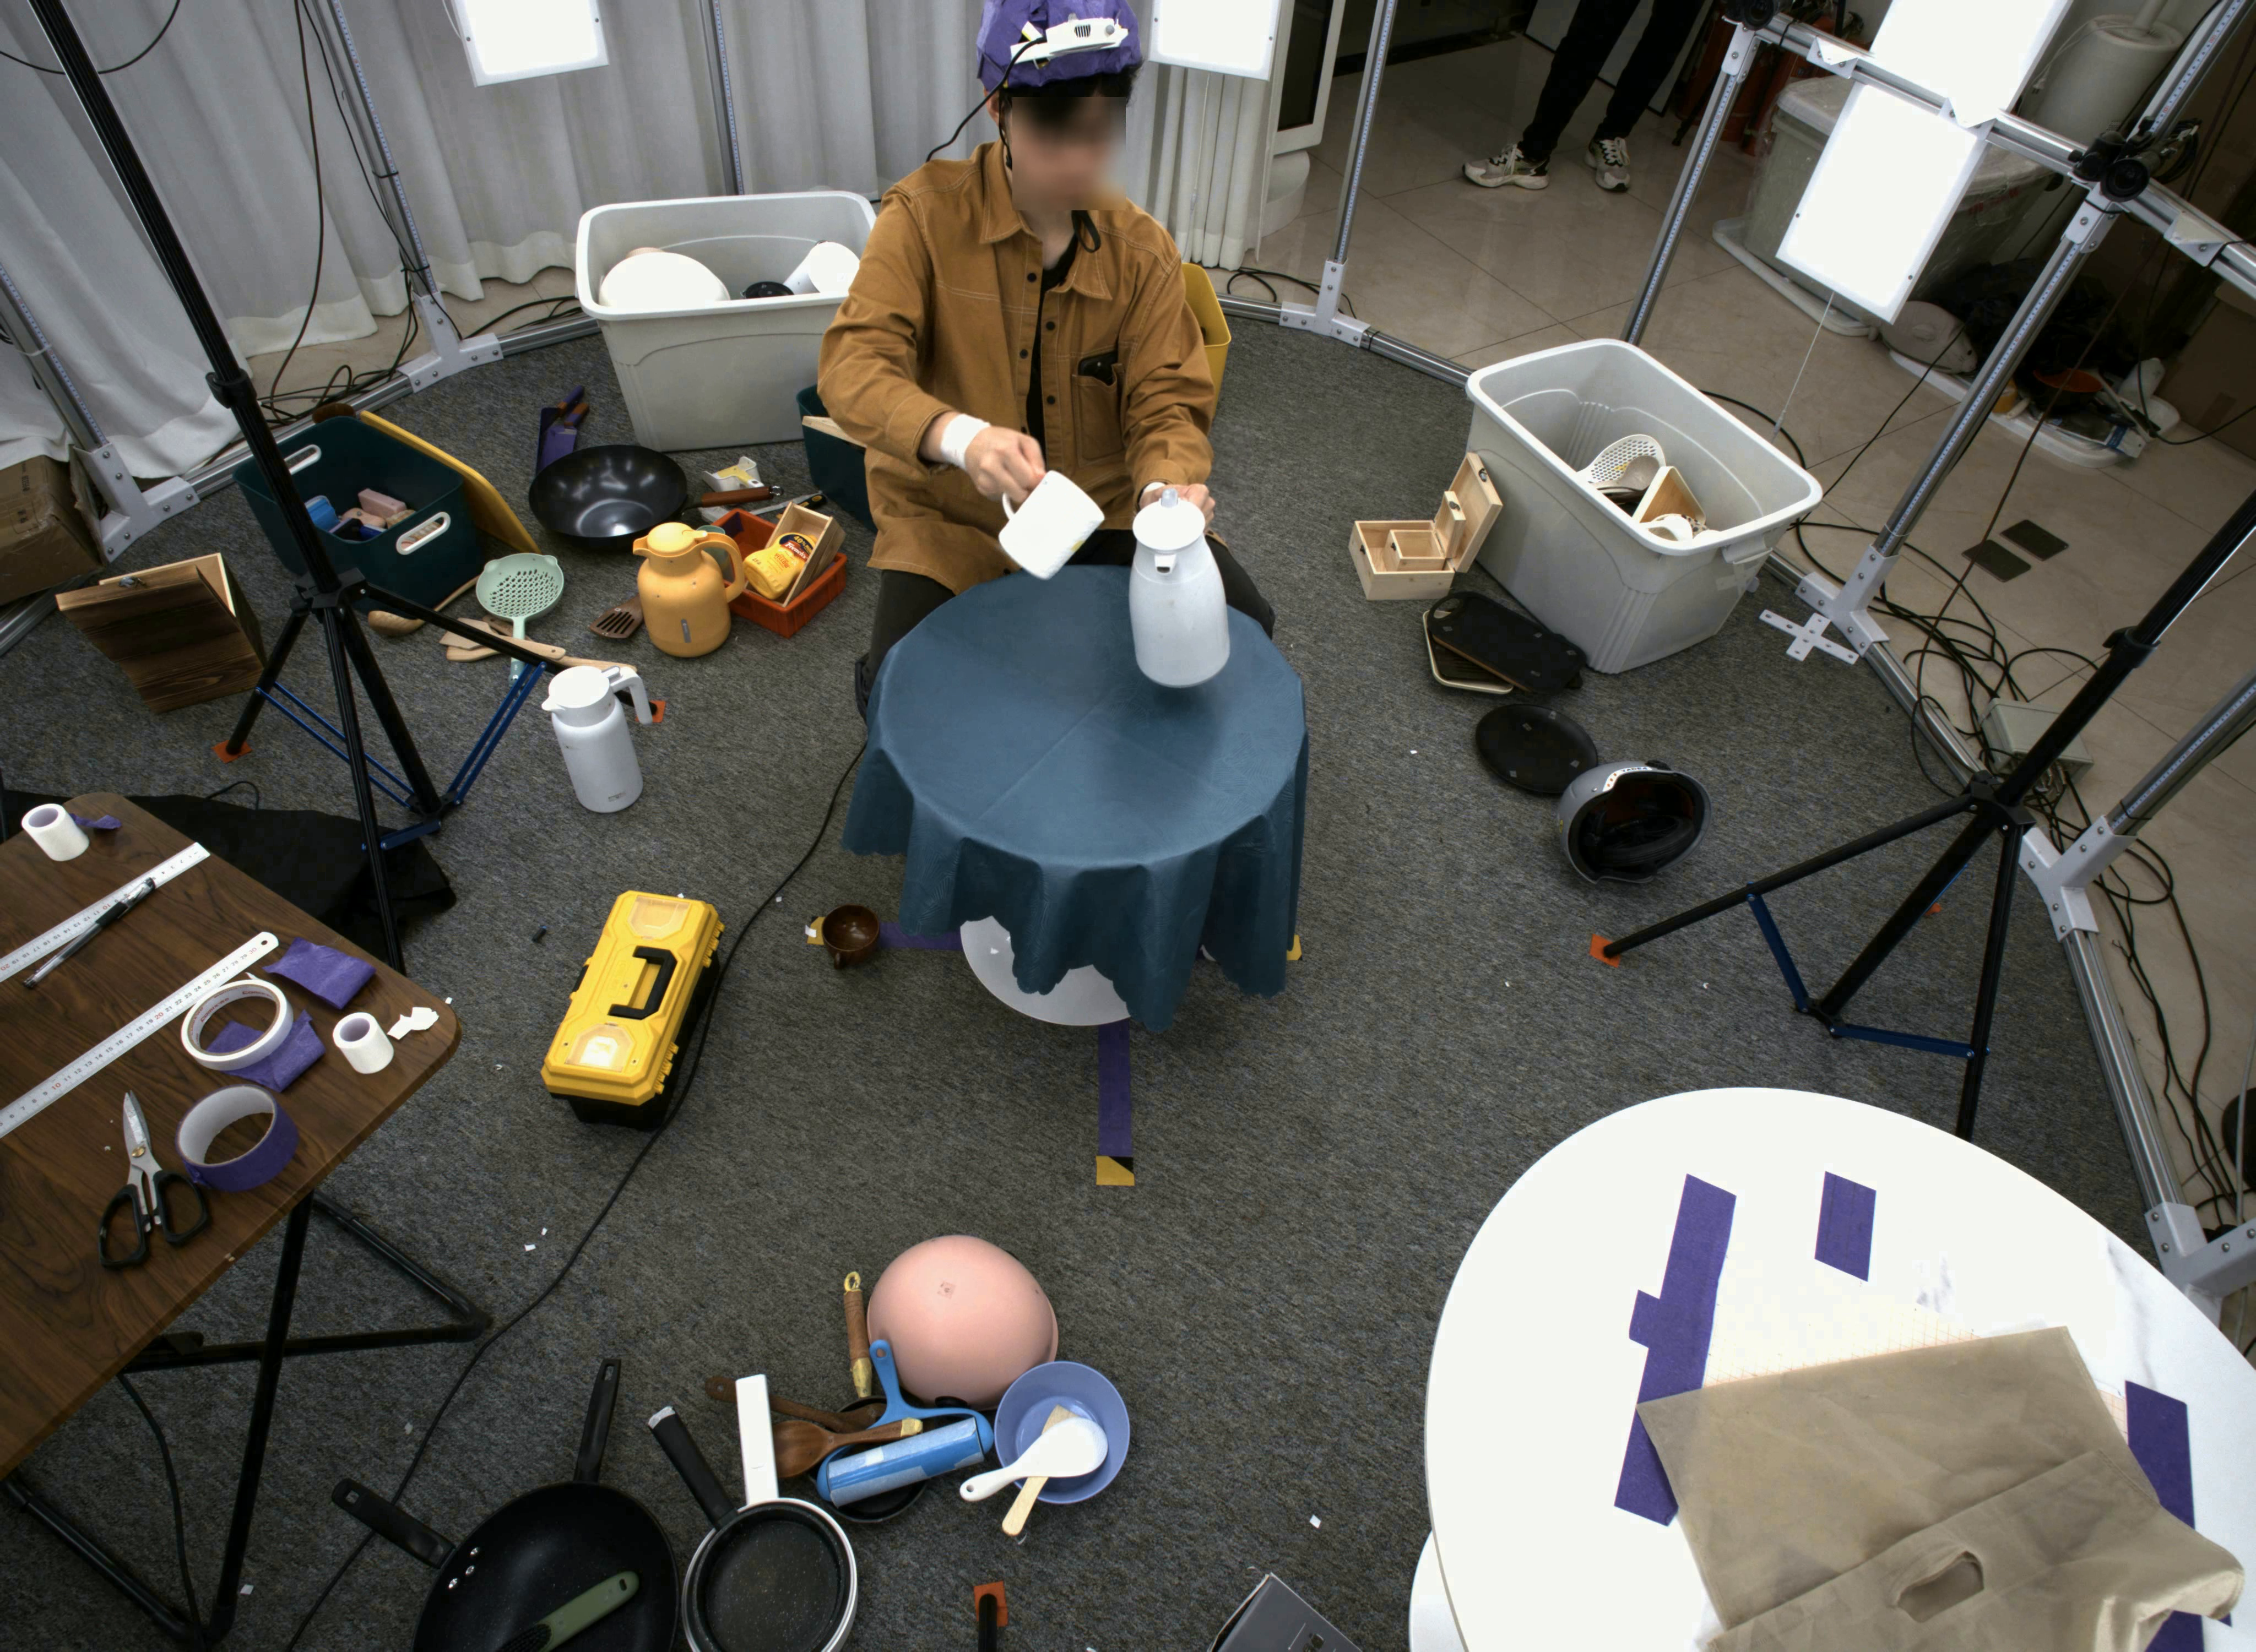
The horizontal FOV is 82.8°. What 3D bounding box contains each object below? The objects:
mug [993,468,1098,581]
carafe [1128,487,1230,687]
[{"bbox_3d":[-0.110,-0.366,1.536,0.119,0.101,0.085,46,20,11],"label":"mug"},{"bbox_3d":[0.063,-0.329,1.710,0.132,0.242,0.171,1,54,10],"label":"carafe"}]
